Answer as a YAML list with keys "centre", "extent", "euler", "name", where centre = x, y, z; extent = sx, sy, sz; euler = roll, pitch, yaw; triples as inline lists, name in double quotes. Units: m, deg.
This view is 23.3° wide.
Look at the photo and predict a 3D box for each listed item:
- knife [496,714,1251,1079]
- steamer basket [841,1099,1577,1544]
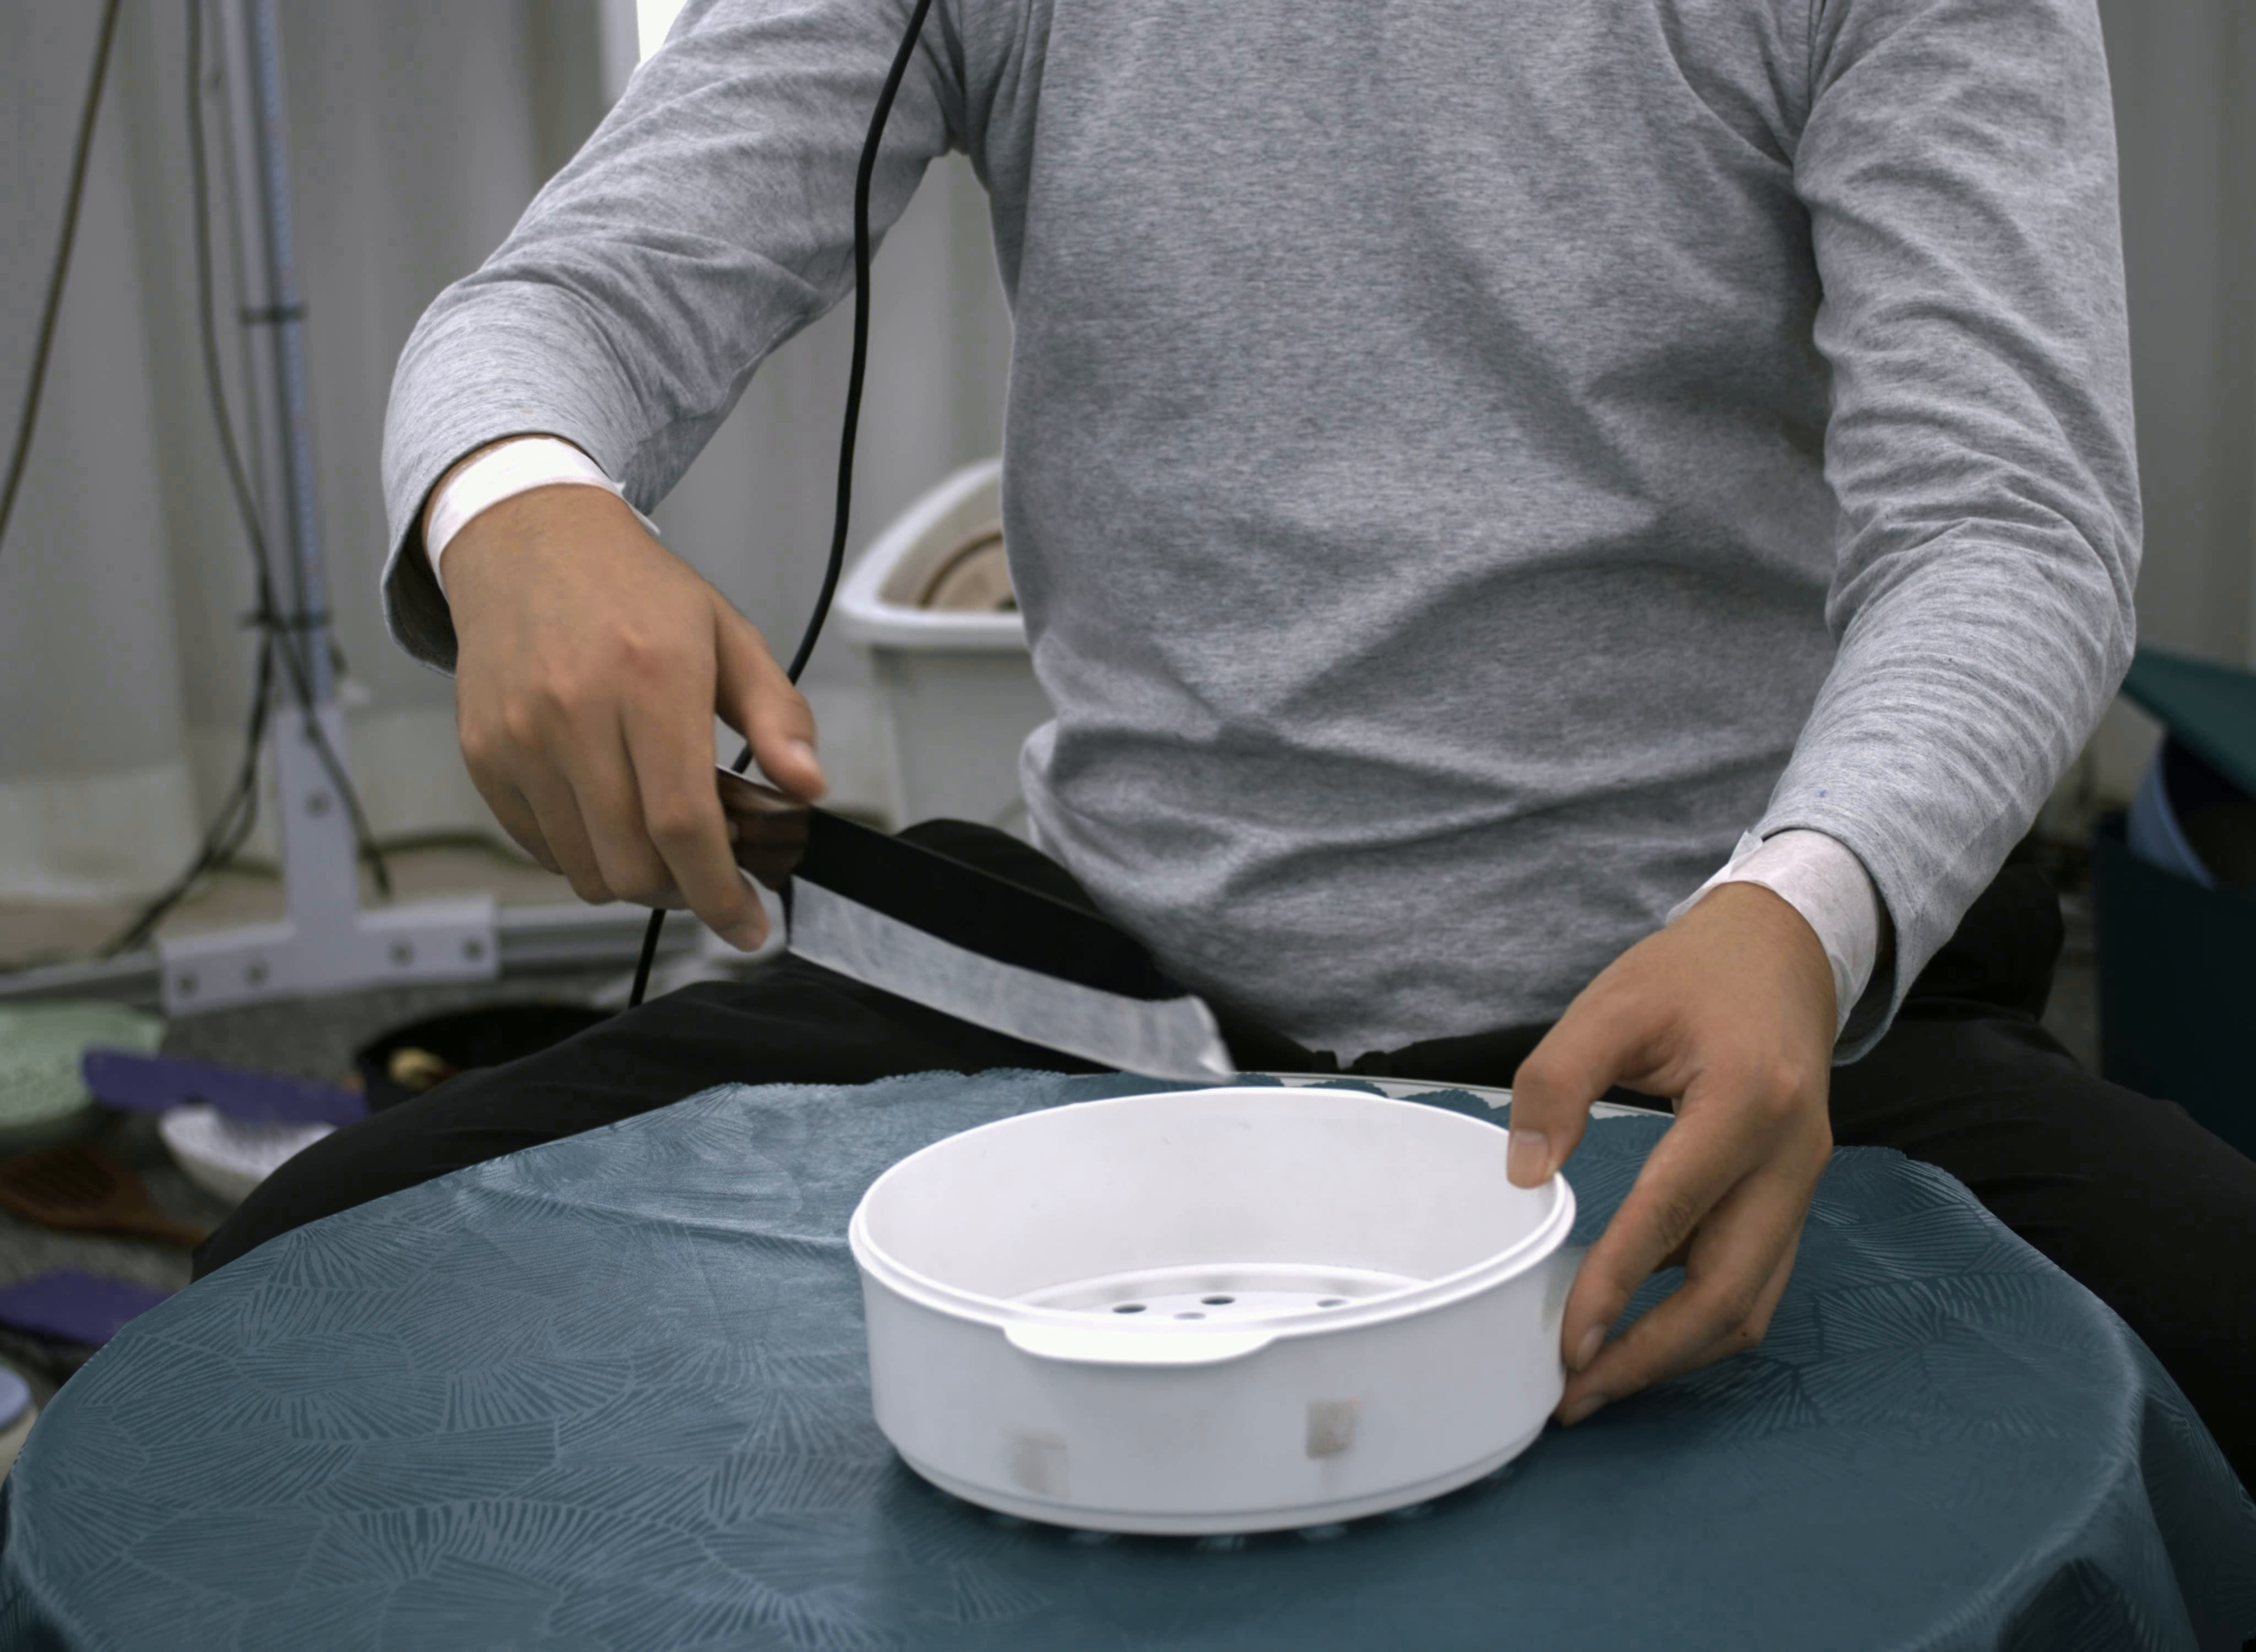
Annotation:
- centre: [-0.074, 0.018, 1.512]
  extent: [0.291, 0.050, 0.020]
  euler: [22, 24, 38]
  name: "knife"
- centre: [0.023, 0.136, 1.505]
  extent: [0.201, 0.069, 0.231]
  euler: [1, 14, 13]
  name: "steamer basket"
